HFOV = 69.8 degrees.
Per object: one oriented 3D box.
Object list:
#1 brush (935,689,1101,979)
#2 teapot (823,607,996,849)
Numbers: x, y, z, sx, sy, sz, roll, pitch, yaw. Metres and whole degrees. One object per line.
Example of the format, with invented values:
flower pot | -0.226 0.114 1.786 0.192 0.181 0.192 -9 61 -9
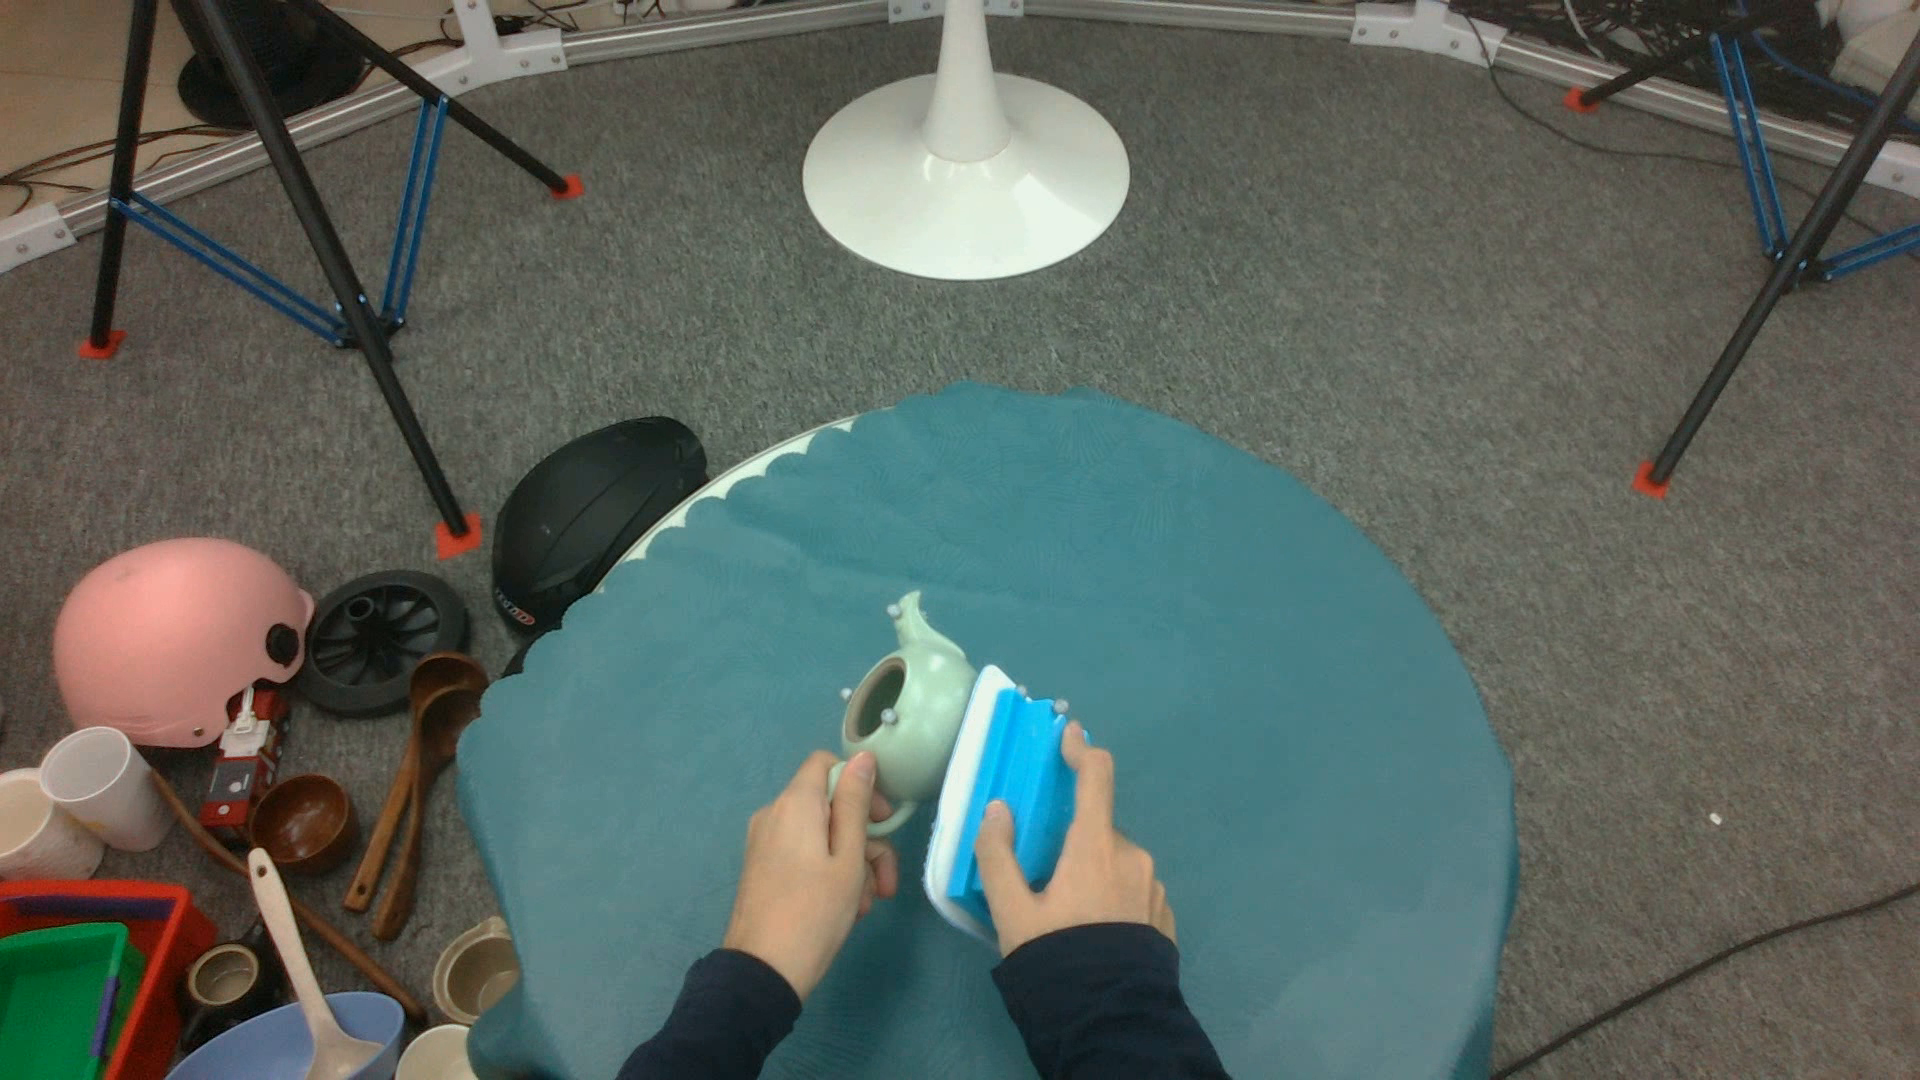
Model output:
brush | 0.040 0.148 0.717 0.055 0.084 0.144 -21 38 37
teapot | -0.022 0.111 0.767 0.074 0.088 0.144 40 55 -22
